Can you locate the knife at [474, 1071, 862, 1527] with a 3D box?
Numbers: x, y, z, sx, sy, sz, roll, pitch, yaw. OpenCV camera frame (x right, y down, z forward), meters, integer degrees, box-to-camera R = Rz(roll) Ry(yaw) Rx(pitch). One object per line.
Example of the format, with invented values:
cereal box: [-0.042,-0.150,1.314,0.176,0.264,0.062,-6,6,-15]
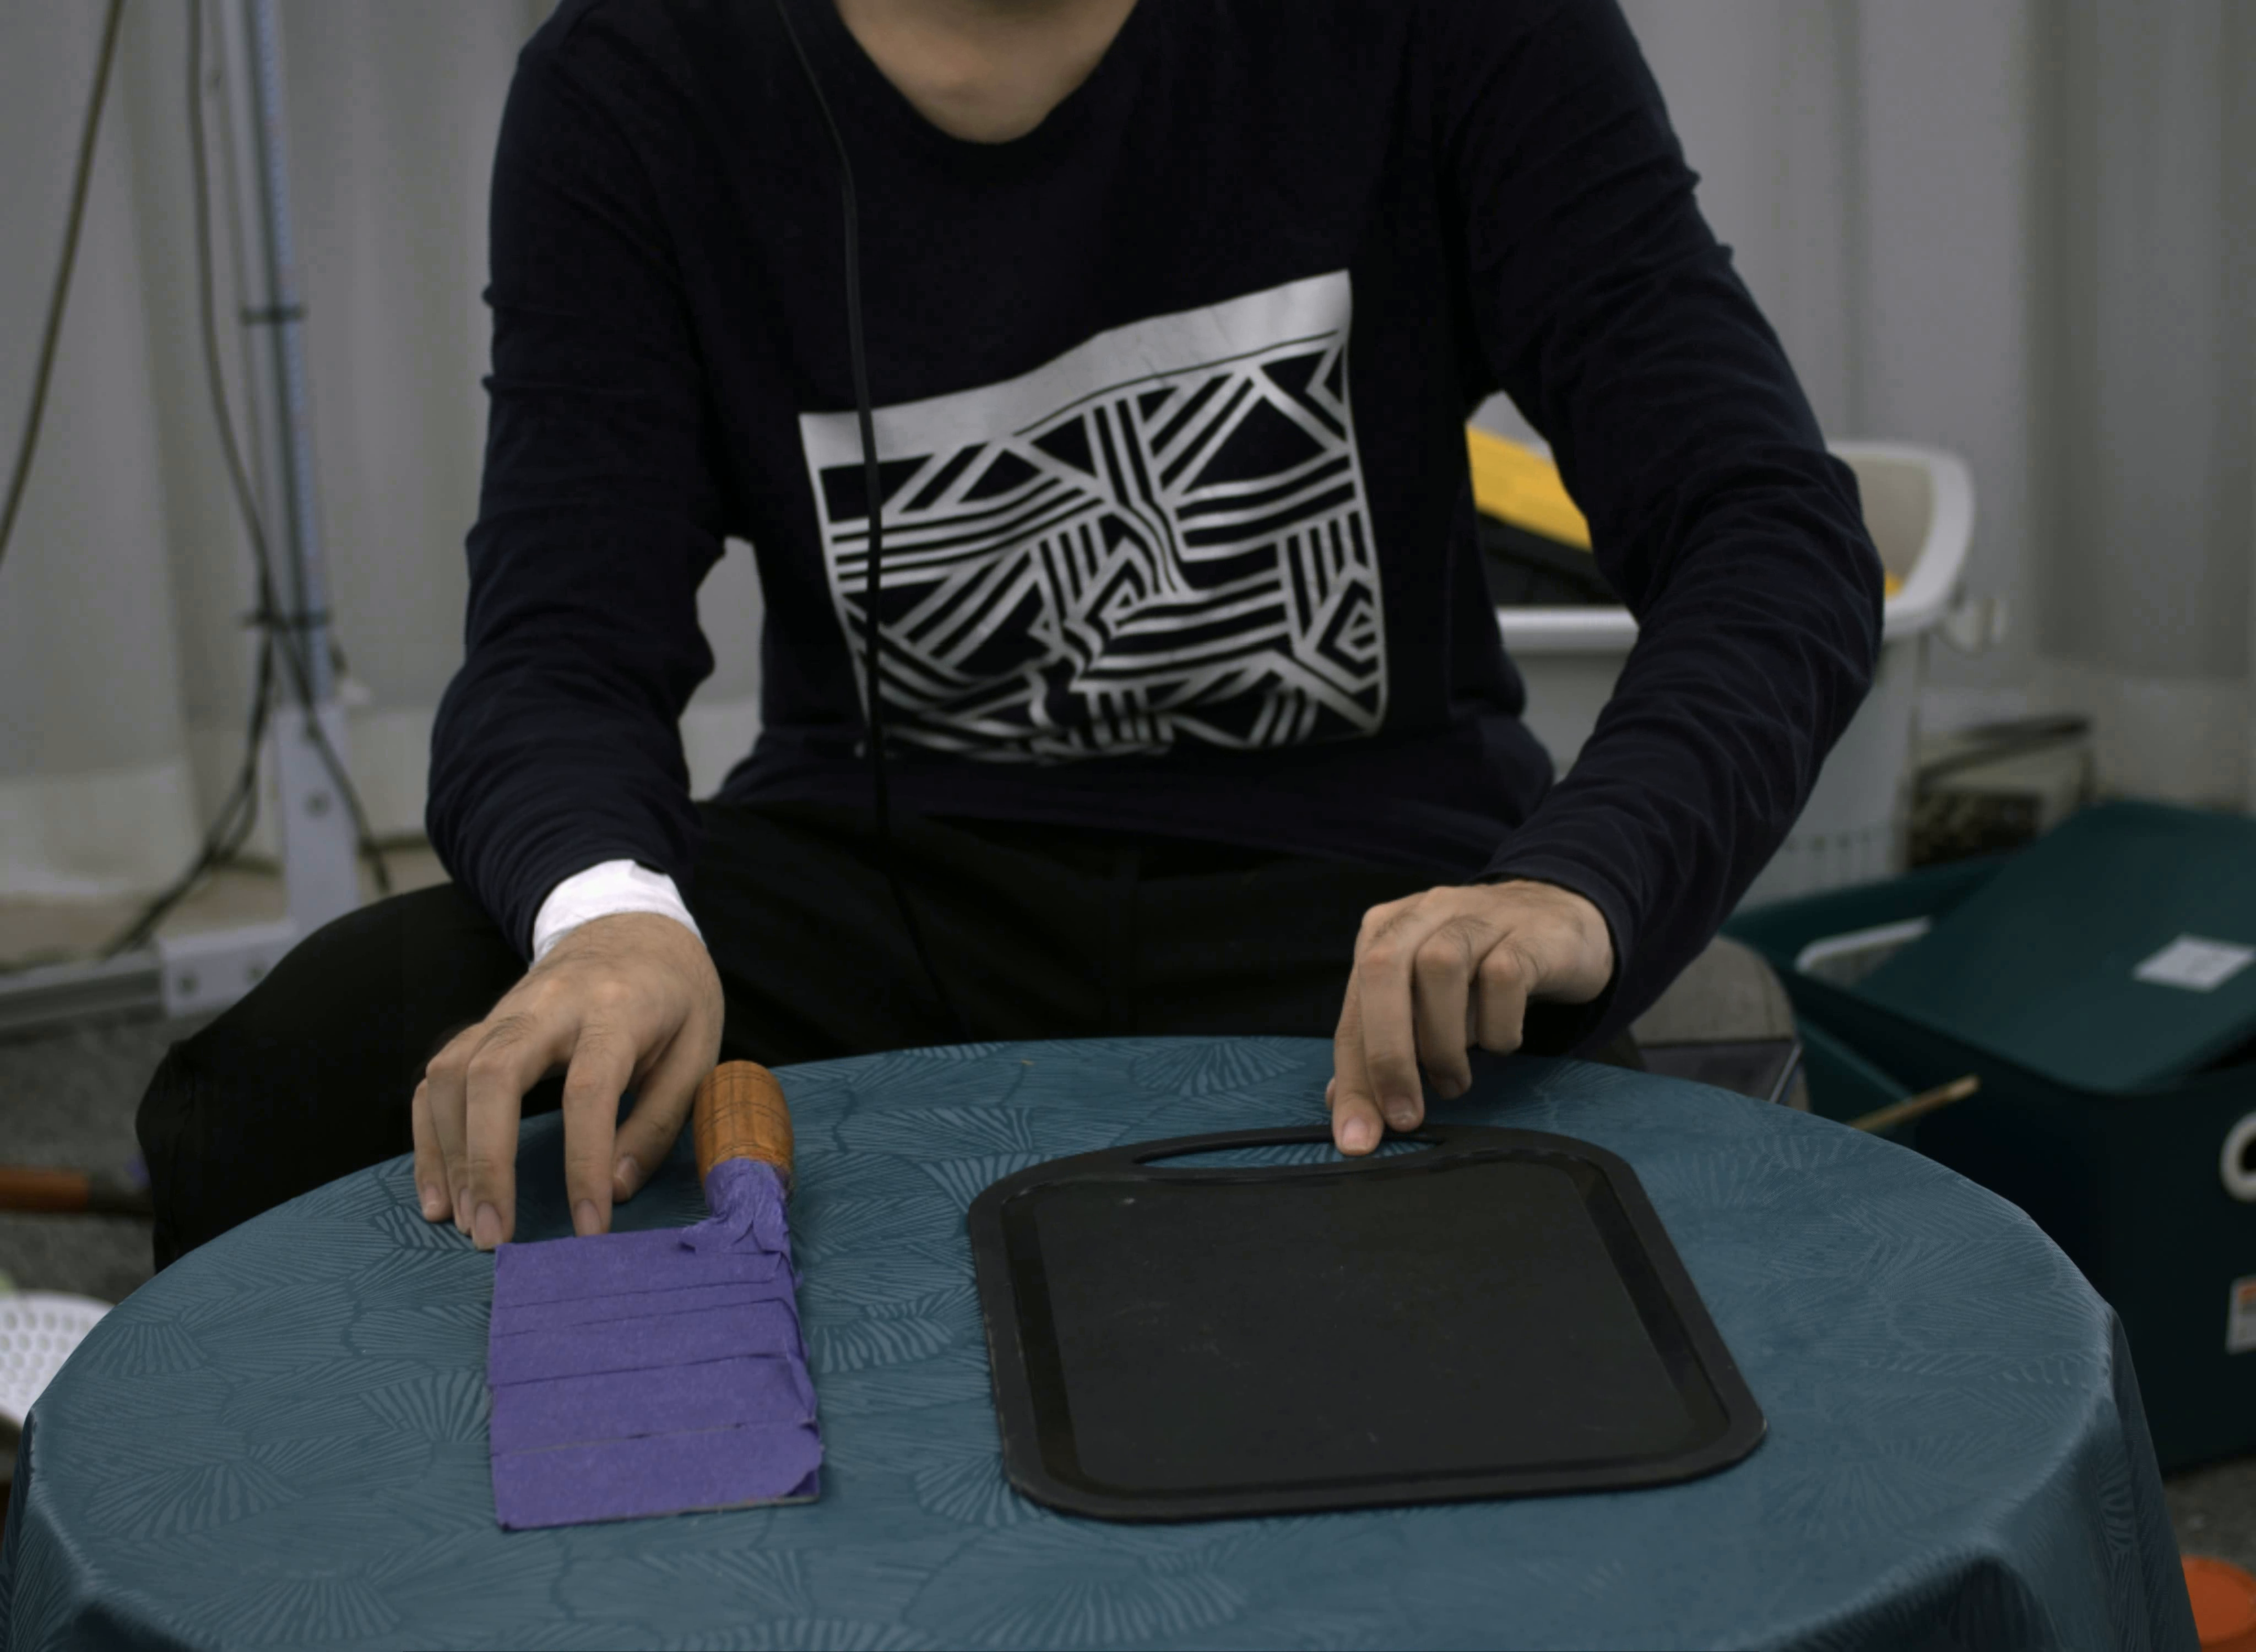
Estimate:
knife: [-0.141,0.135,1.614,0.103,0.032,0.317,-4,15,-6]

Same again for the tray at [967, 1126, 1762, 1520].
tray: [0.060,0.138,1.604,0.210,0.010,0.328,-3,15,-3]
